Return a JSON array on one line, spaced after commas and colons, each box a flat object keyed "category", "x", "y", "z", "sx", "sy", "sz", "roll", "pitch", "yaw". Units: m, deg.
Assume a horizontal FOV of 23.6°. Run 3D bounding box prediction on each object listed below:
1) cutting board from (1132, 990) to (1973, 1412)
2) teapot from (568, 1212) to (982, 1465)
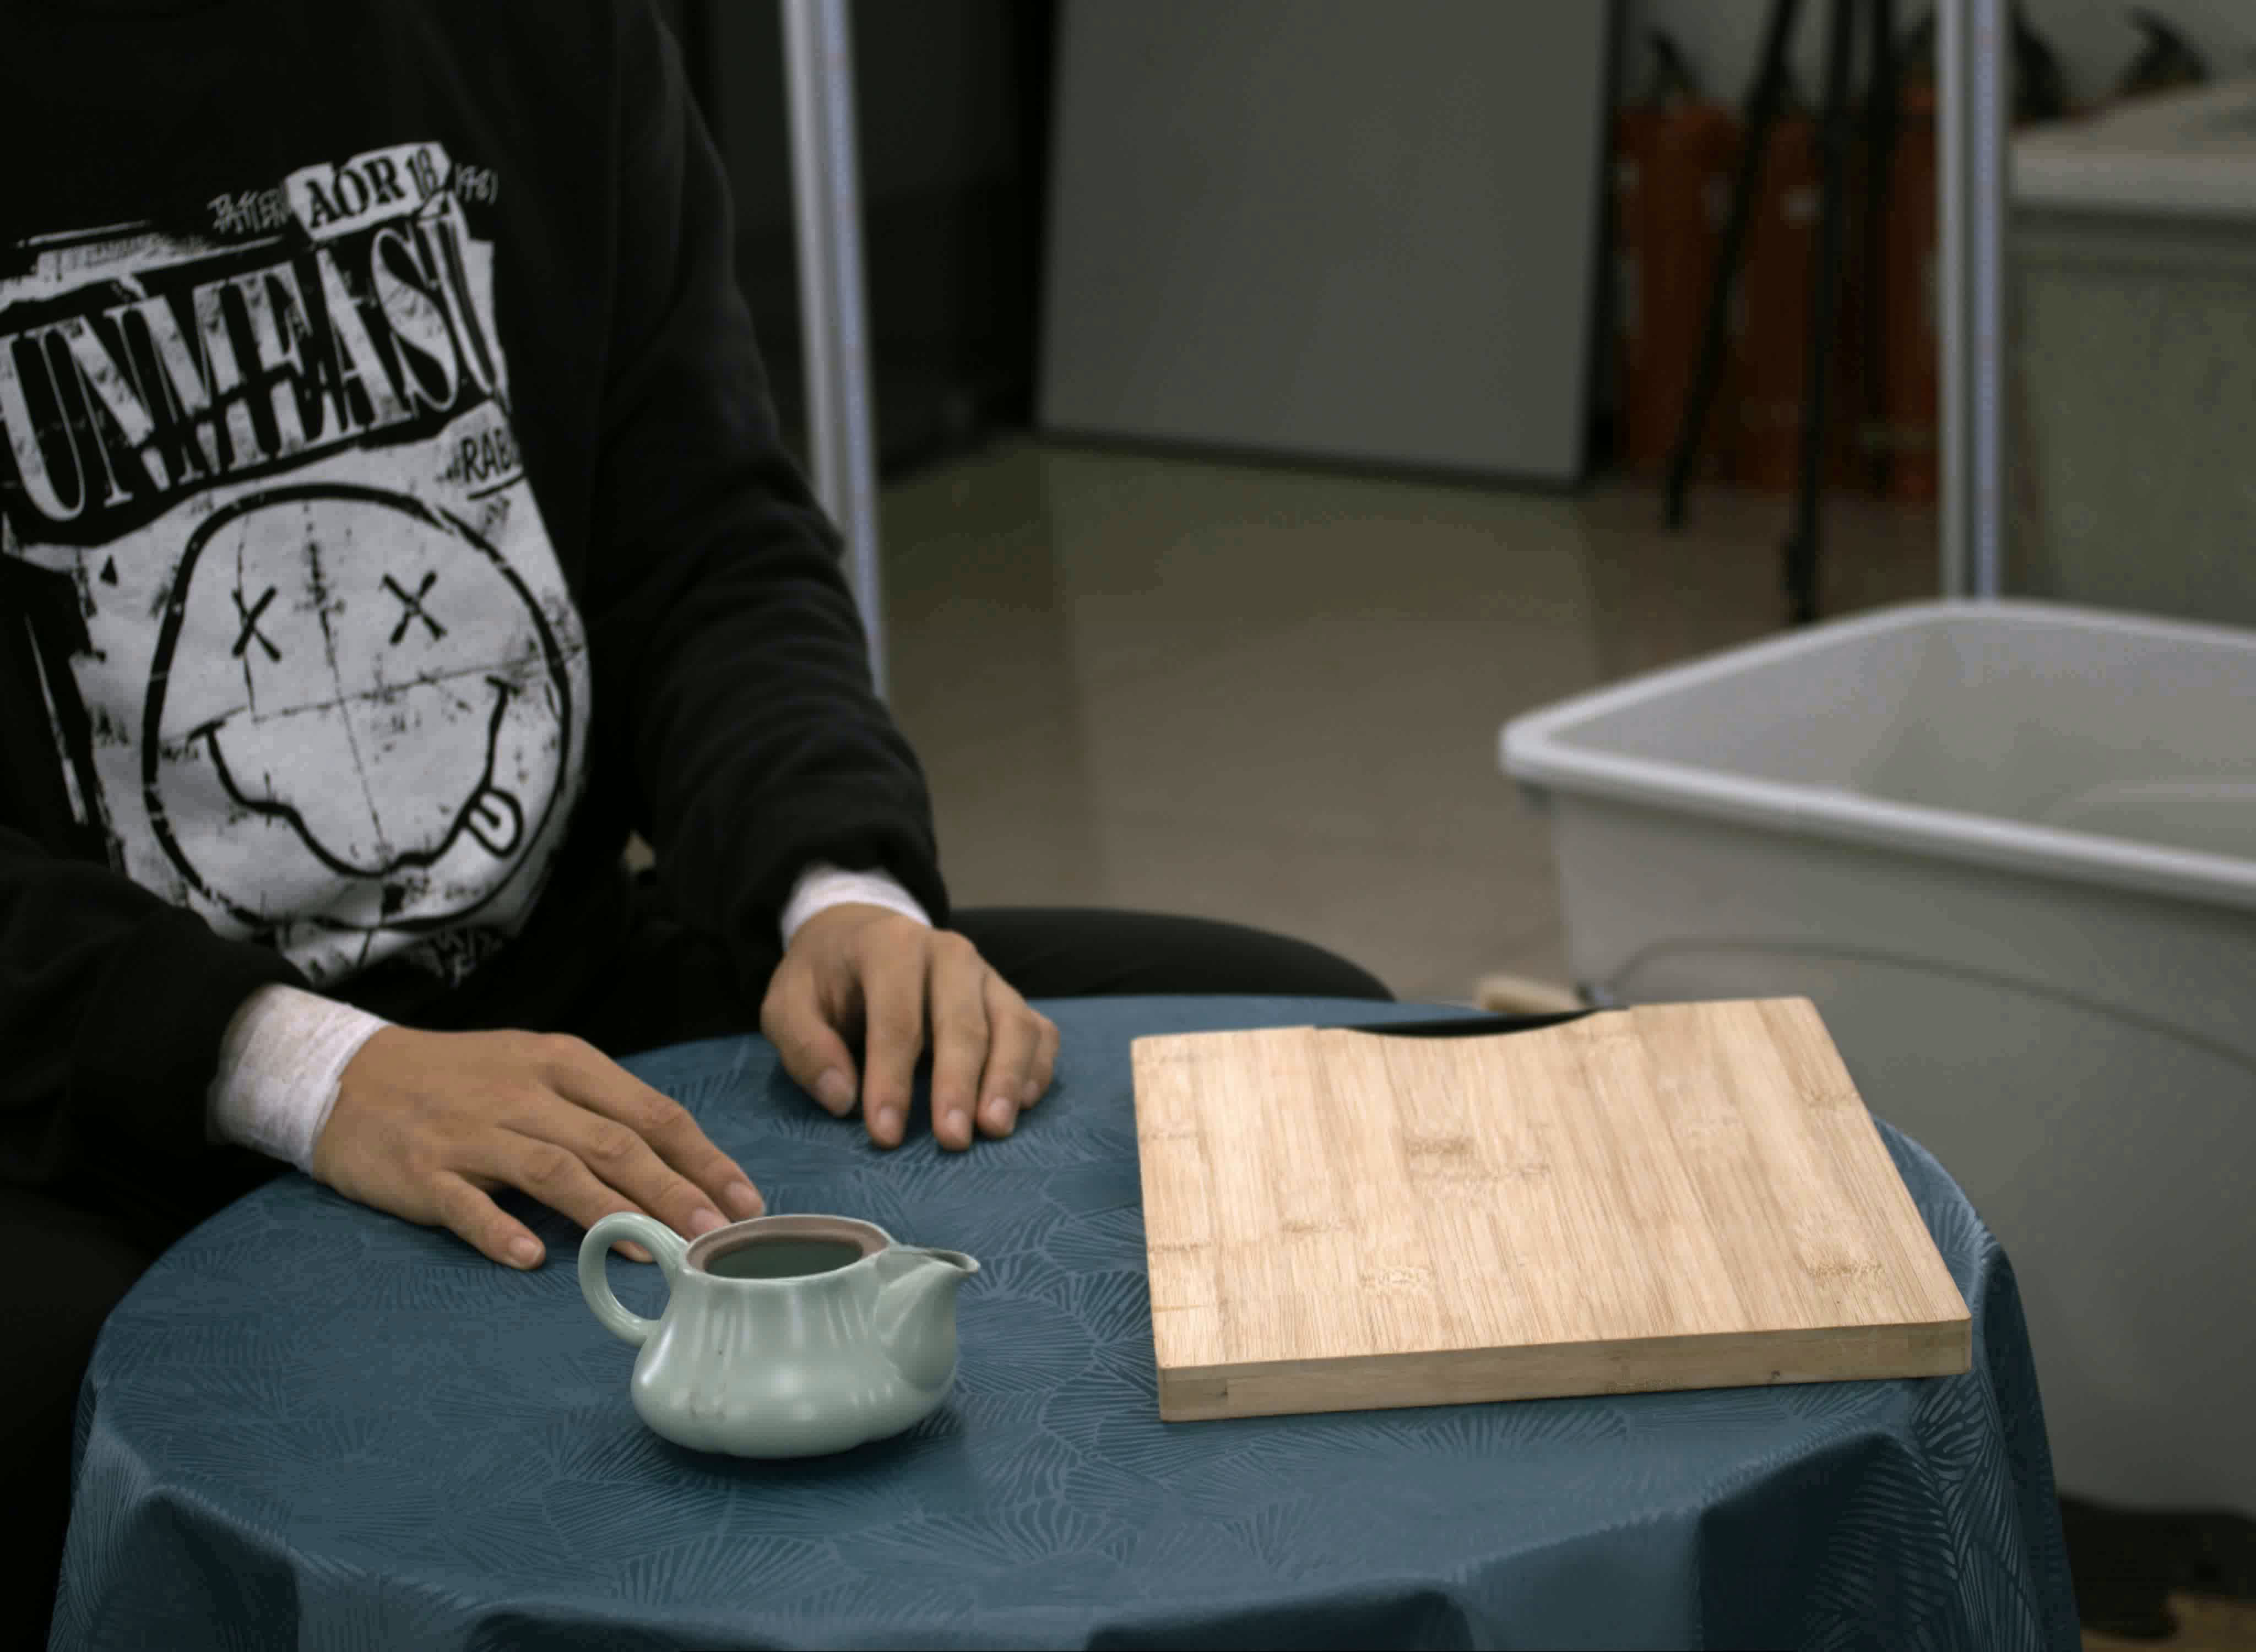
[{"category": "cutting board", "x": 0.124, "y": 0.116, "z": 1.725, "sx": 0.247, "sy": 0.024, "sz": 0.349, "roll": -4, "pitch": 14, "yaw": 0}, {"category": "teapot", "x": -0.102, "y": 0.148, "z": 1.573, "sx": 0.137, "sy": 0.062, "sz": 0.095, "roll": 3, "pitch": 17, "yaw": 27}]
